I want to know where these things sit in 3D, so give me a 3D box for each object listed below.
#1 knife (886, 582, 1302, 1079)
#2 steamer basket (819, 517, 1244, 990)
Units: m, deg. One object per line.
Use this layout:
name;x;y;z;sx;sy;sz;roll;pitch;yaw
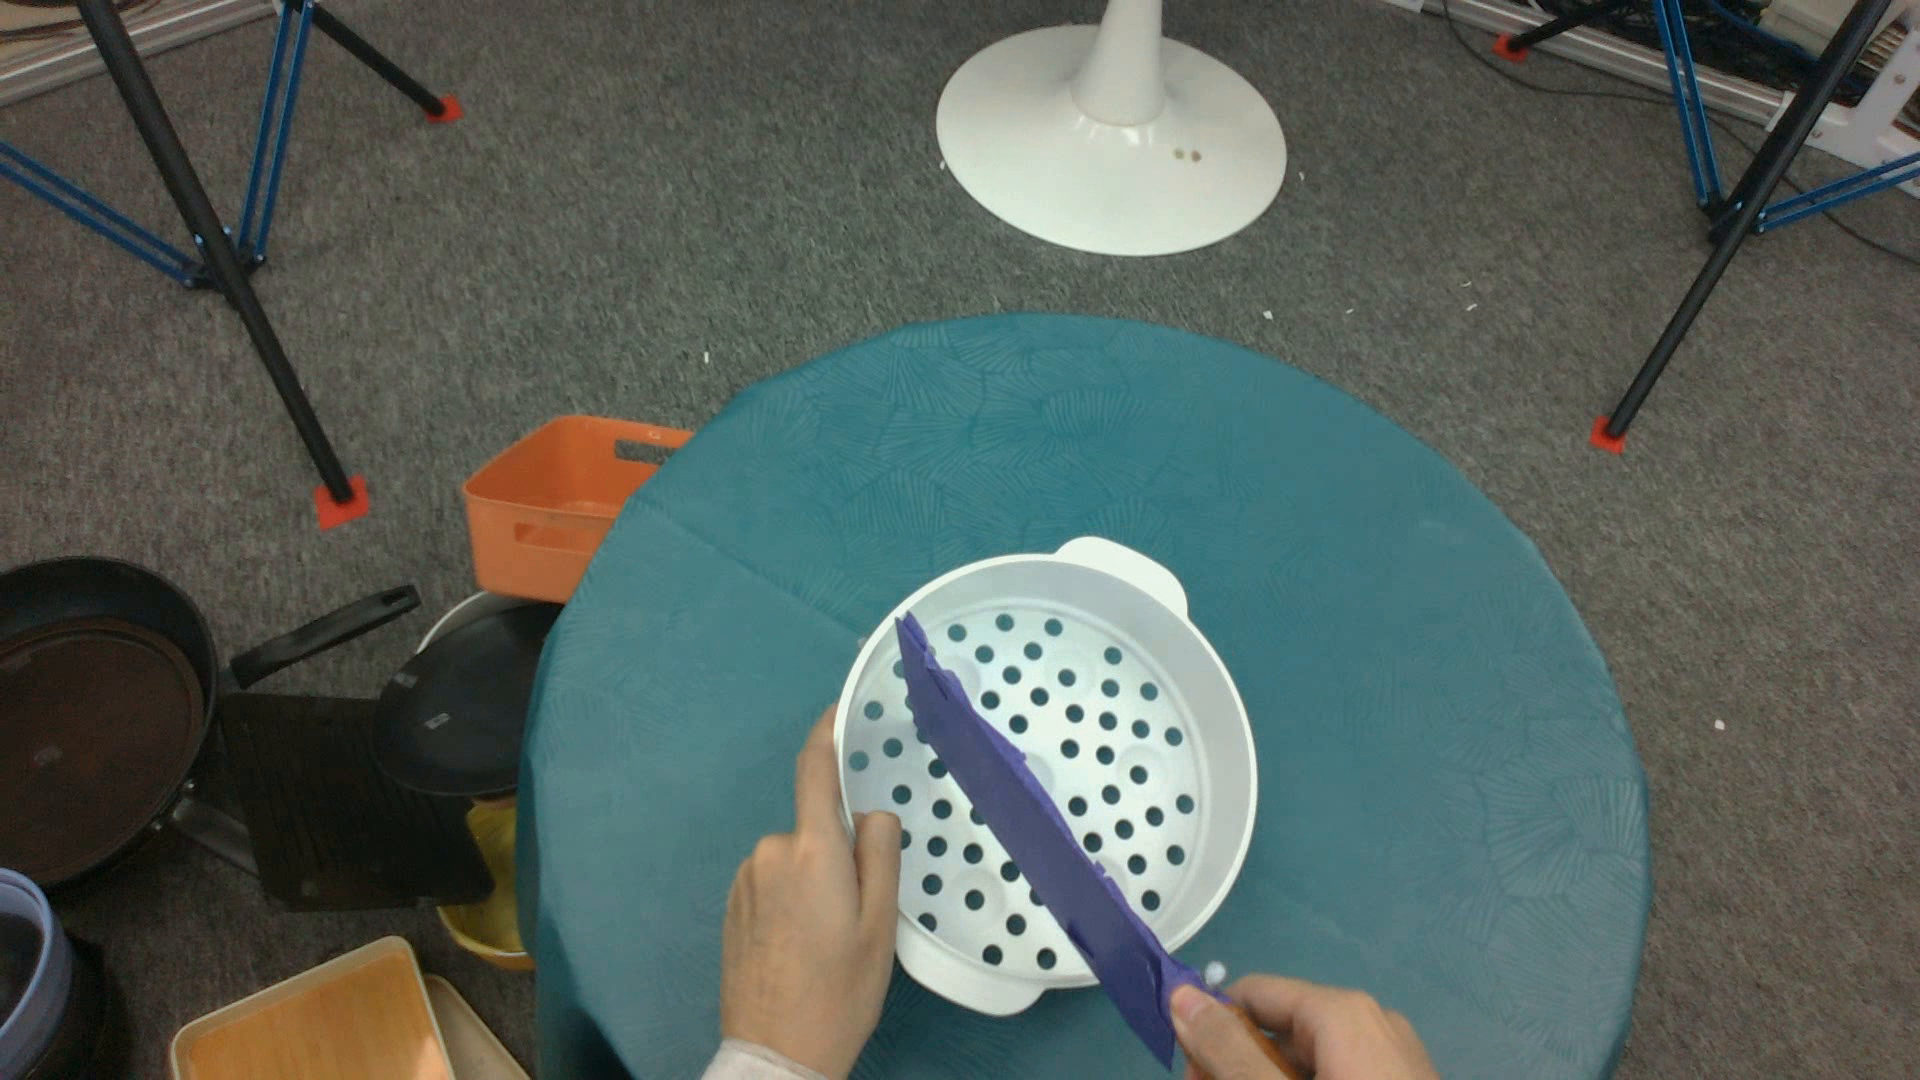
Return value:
knife;0.053;0.146;0.563;0.032;0.103;0.316;-26;52;-16
steamer basket;0.031;0.101;0.667;0.202;0.069;0.231;25;68;0
